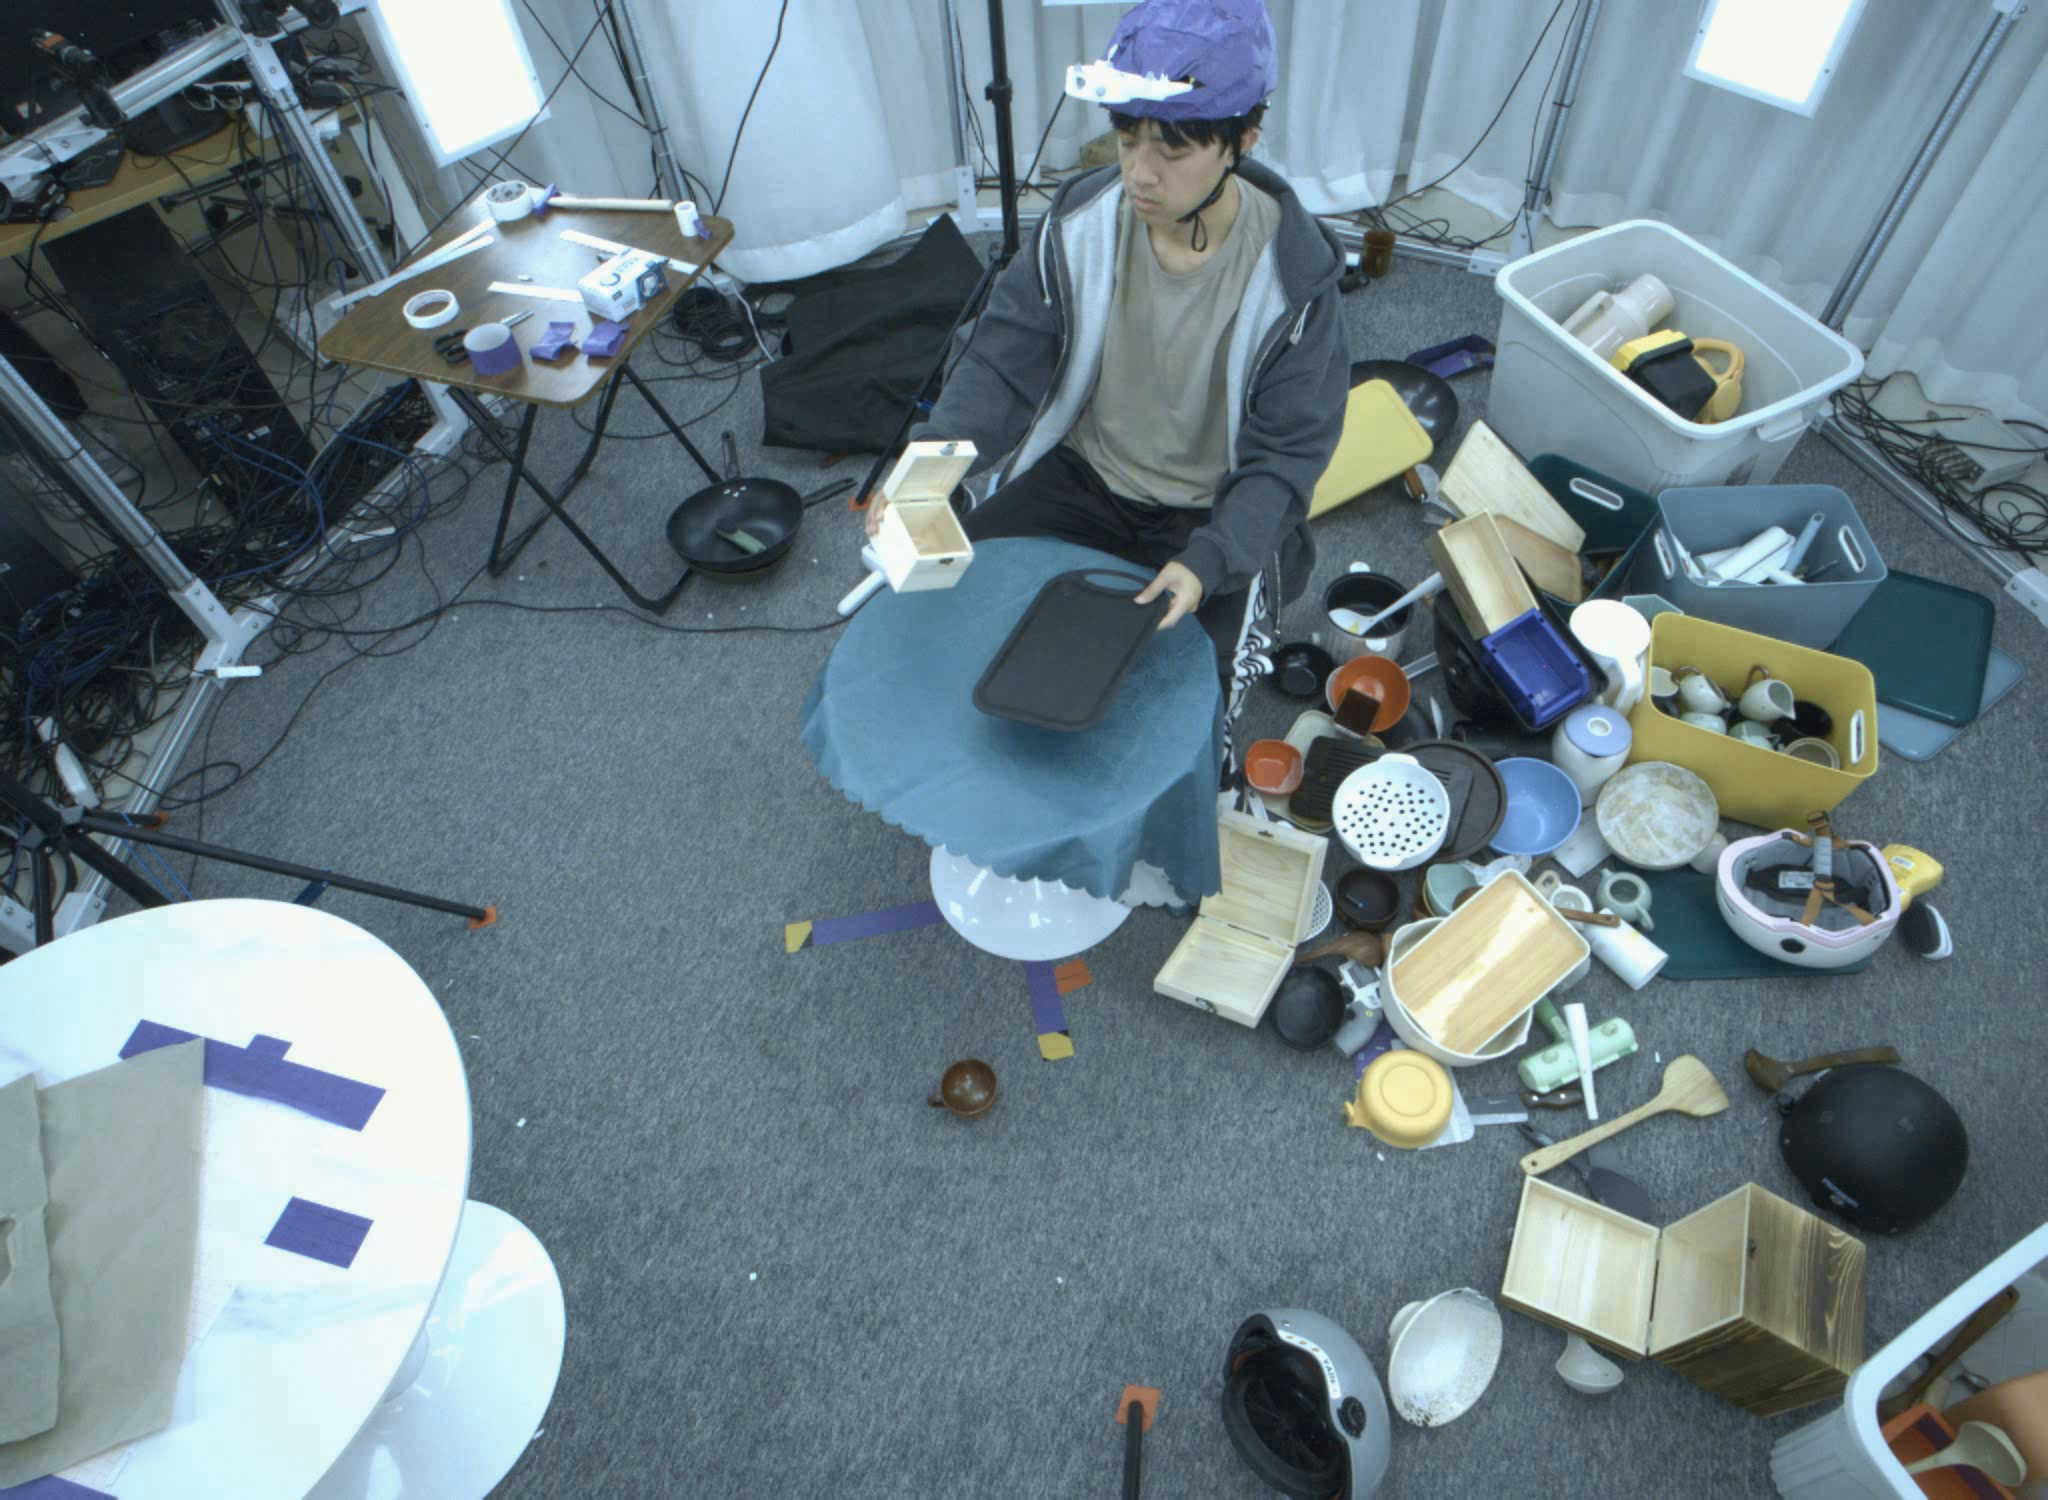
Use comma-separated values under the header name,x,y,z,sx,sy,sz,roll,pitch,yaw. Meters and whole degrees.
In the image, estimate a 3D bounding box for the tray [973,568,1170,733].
name,x,y,z,sx,sy,sz,roll,pitch,yaw
tray,0.074,-0.157,1.793,0.207,0.010,0.326,16,56,26

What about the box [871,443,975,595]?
name,x,y,z,sx,sy,sz,roll,pitch,yaw
box,-0.129,-0.324,1.711,0.104,0.183,0.132,-14,66,-36
